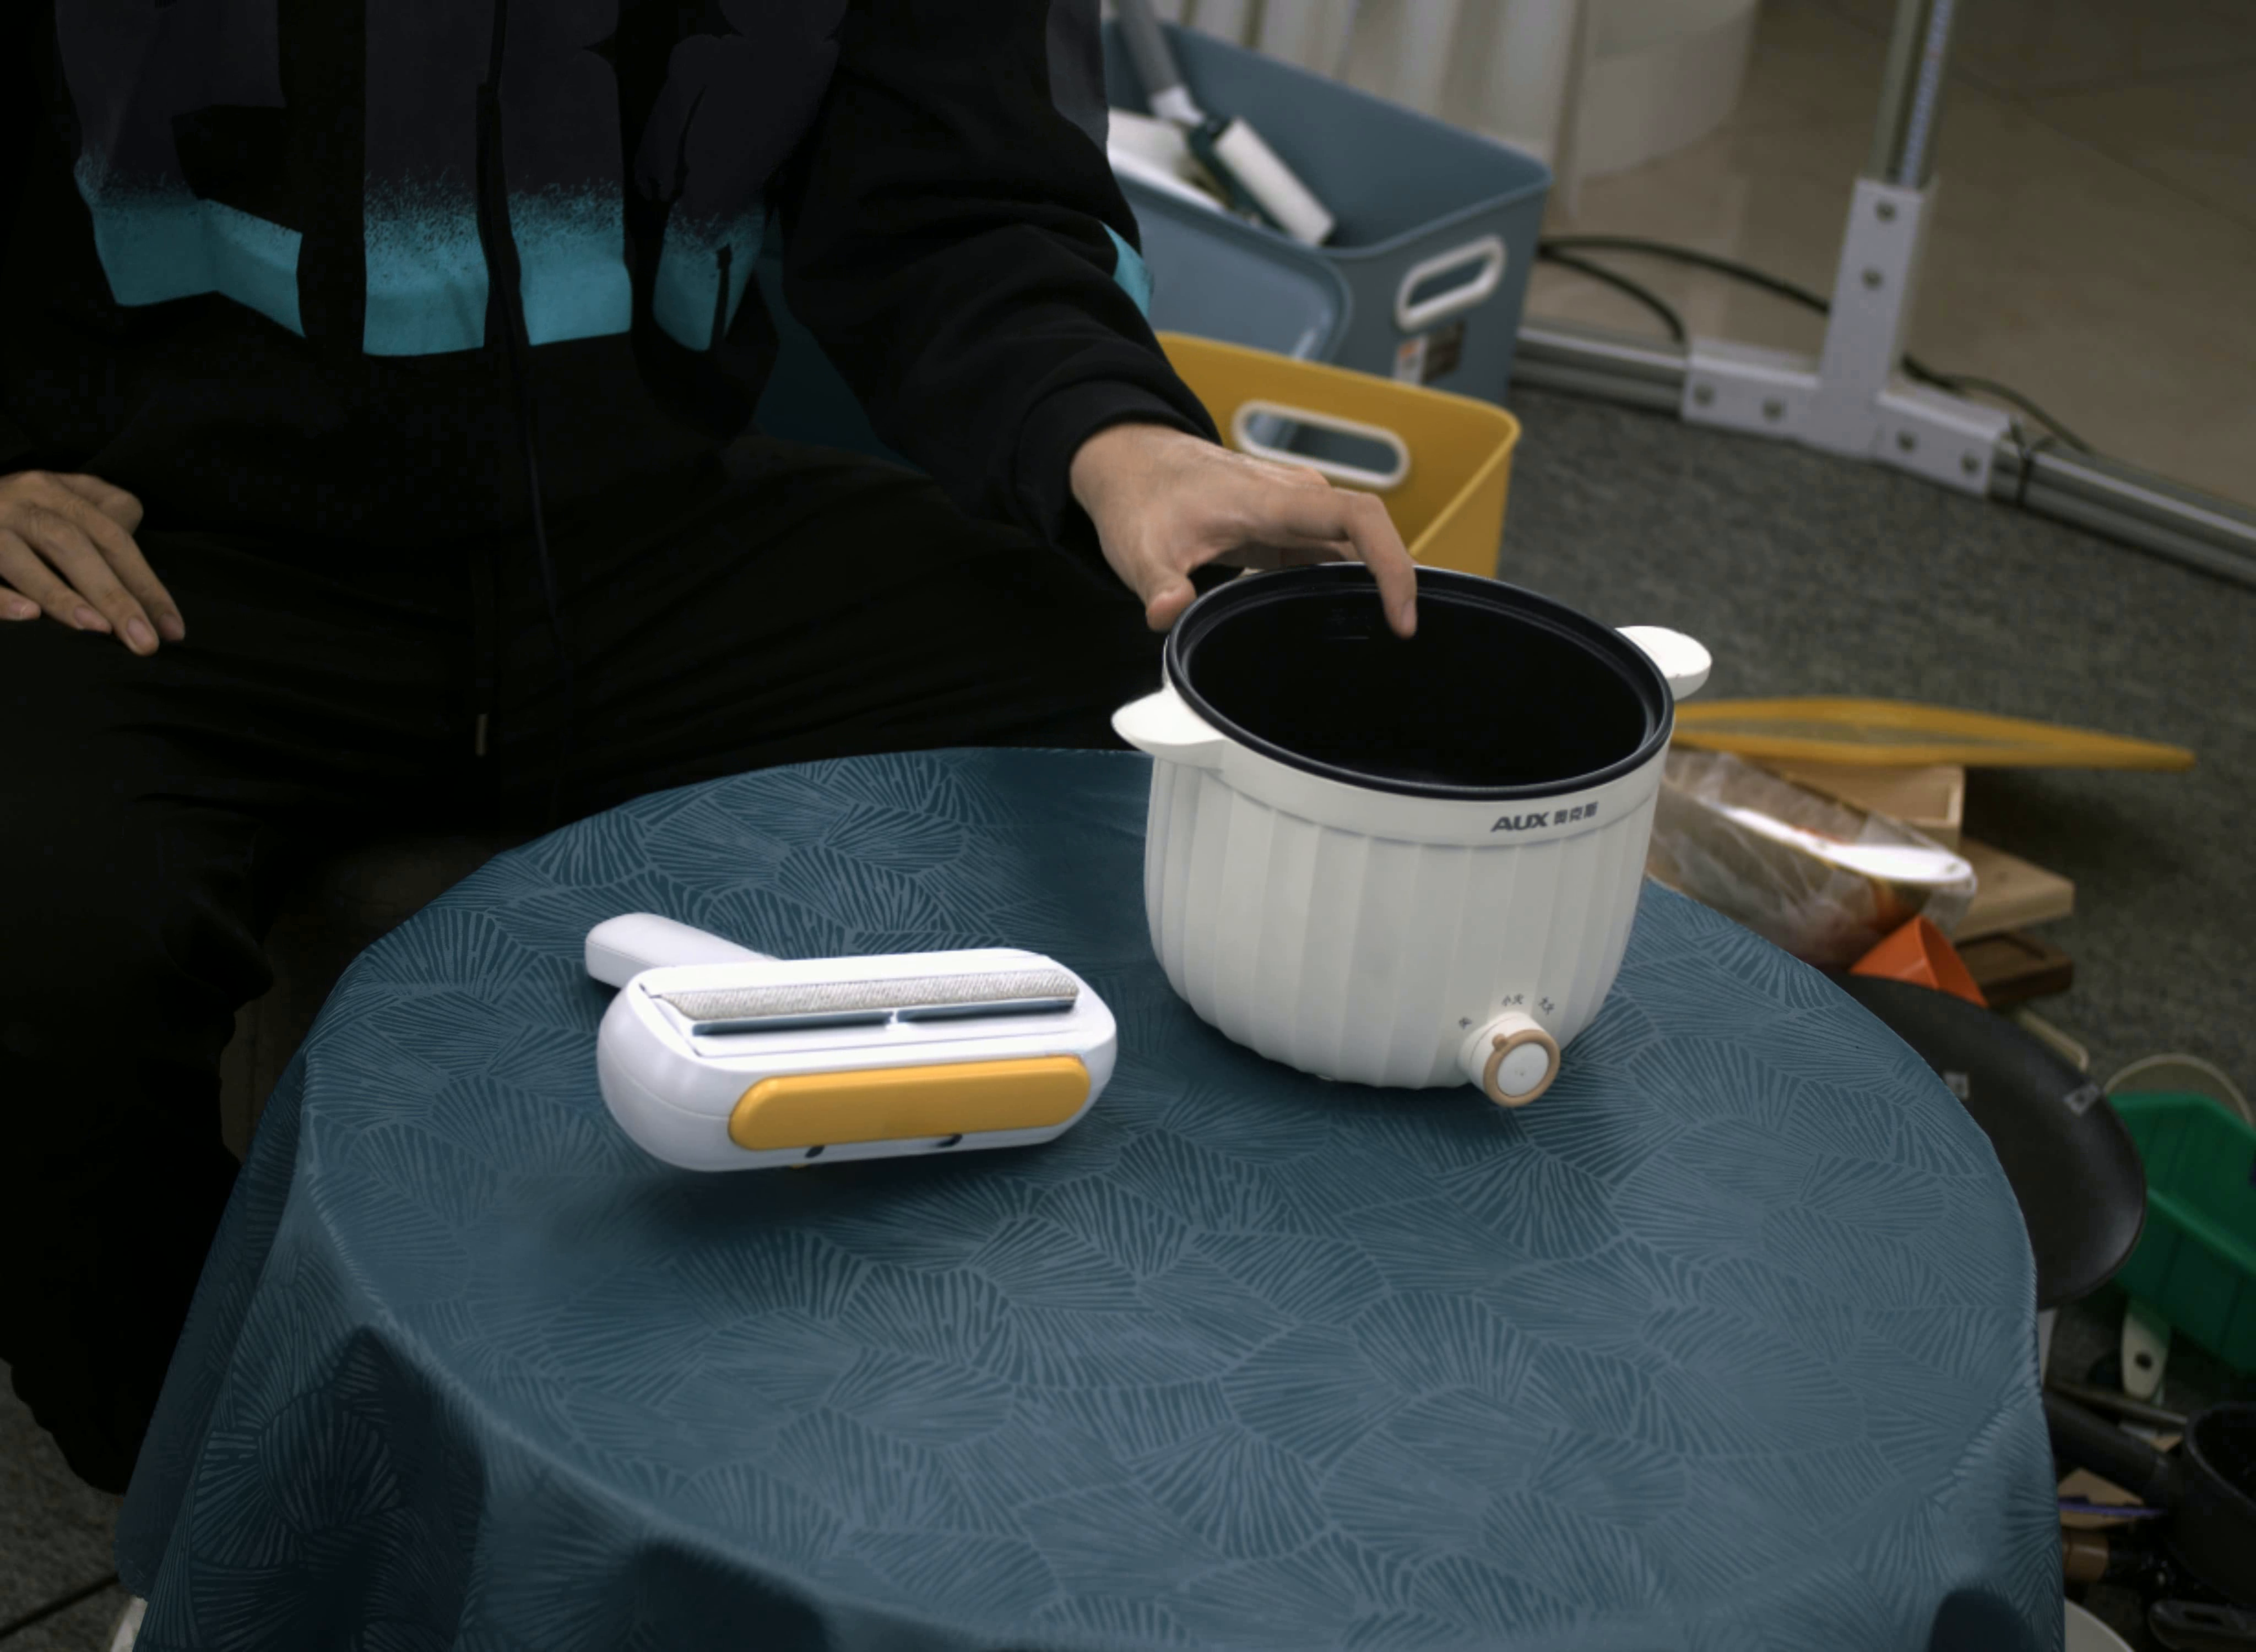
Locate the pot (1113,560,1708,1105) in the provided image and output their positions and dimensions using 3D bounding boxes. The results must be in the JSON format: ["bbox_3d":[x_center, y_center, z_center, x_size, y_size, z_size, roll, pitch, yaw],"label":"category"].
[{"bbox_3d":[0.099,0.006,1.898,0.239,0.142,0.192,-9,28,-26],"label":"pot"}]

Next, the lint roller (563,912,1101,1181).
[{"bbox_3d":[-0.128,0.061,1.820,0.191,0.074,0.194,-5,26,-33],"label":"lint roller"}]
